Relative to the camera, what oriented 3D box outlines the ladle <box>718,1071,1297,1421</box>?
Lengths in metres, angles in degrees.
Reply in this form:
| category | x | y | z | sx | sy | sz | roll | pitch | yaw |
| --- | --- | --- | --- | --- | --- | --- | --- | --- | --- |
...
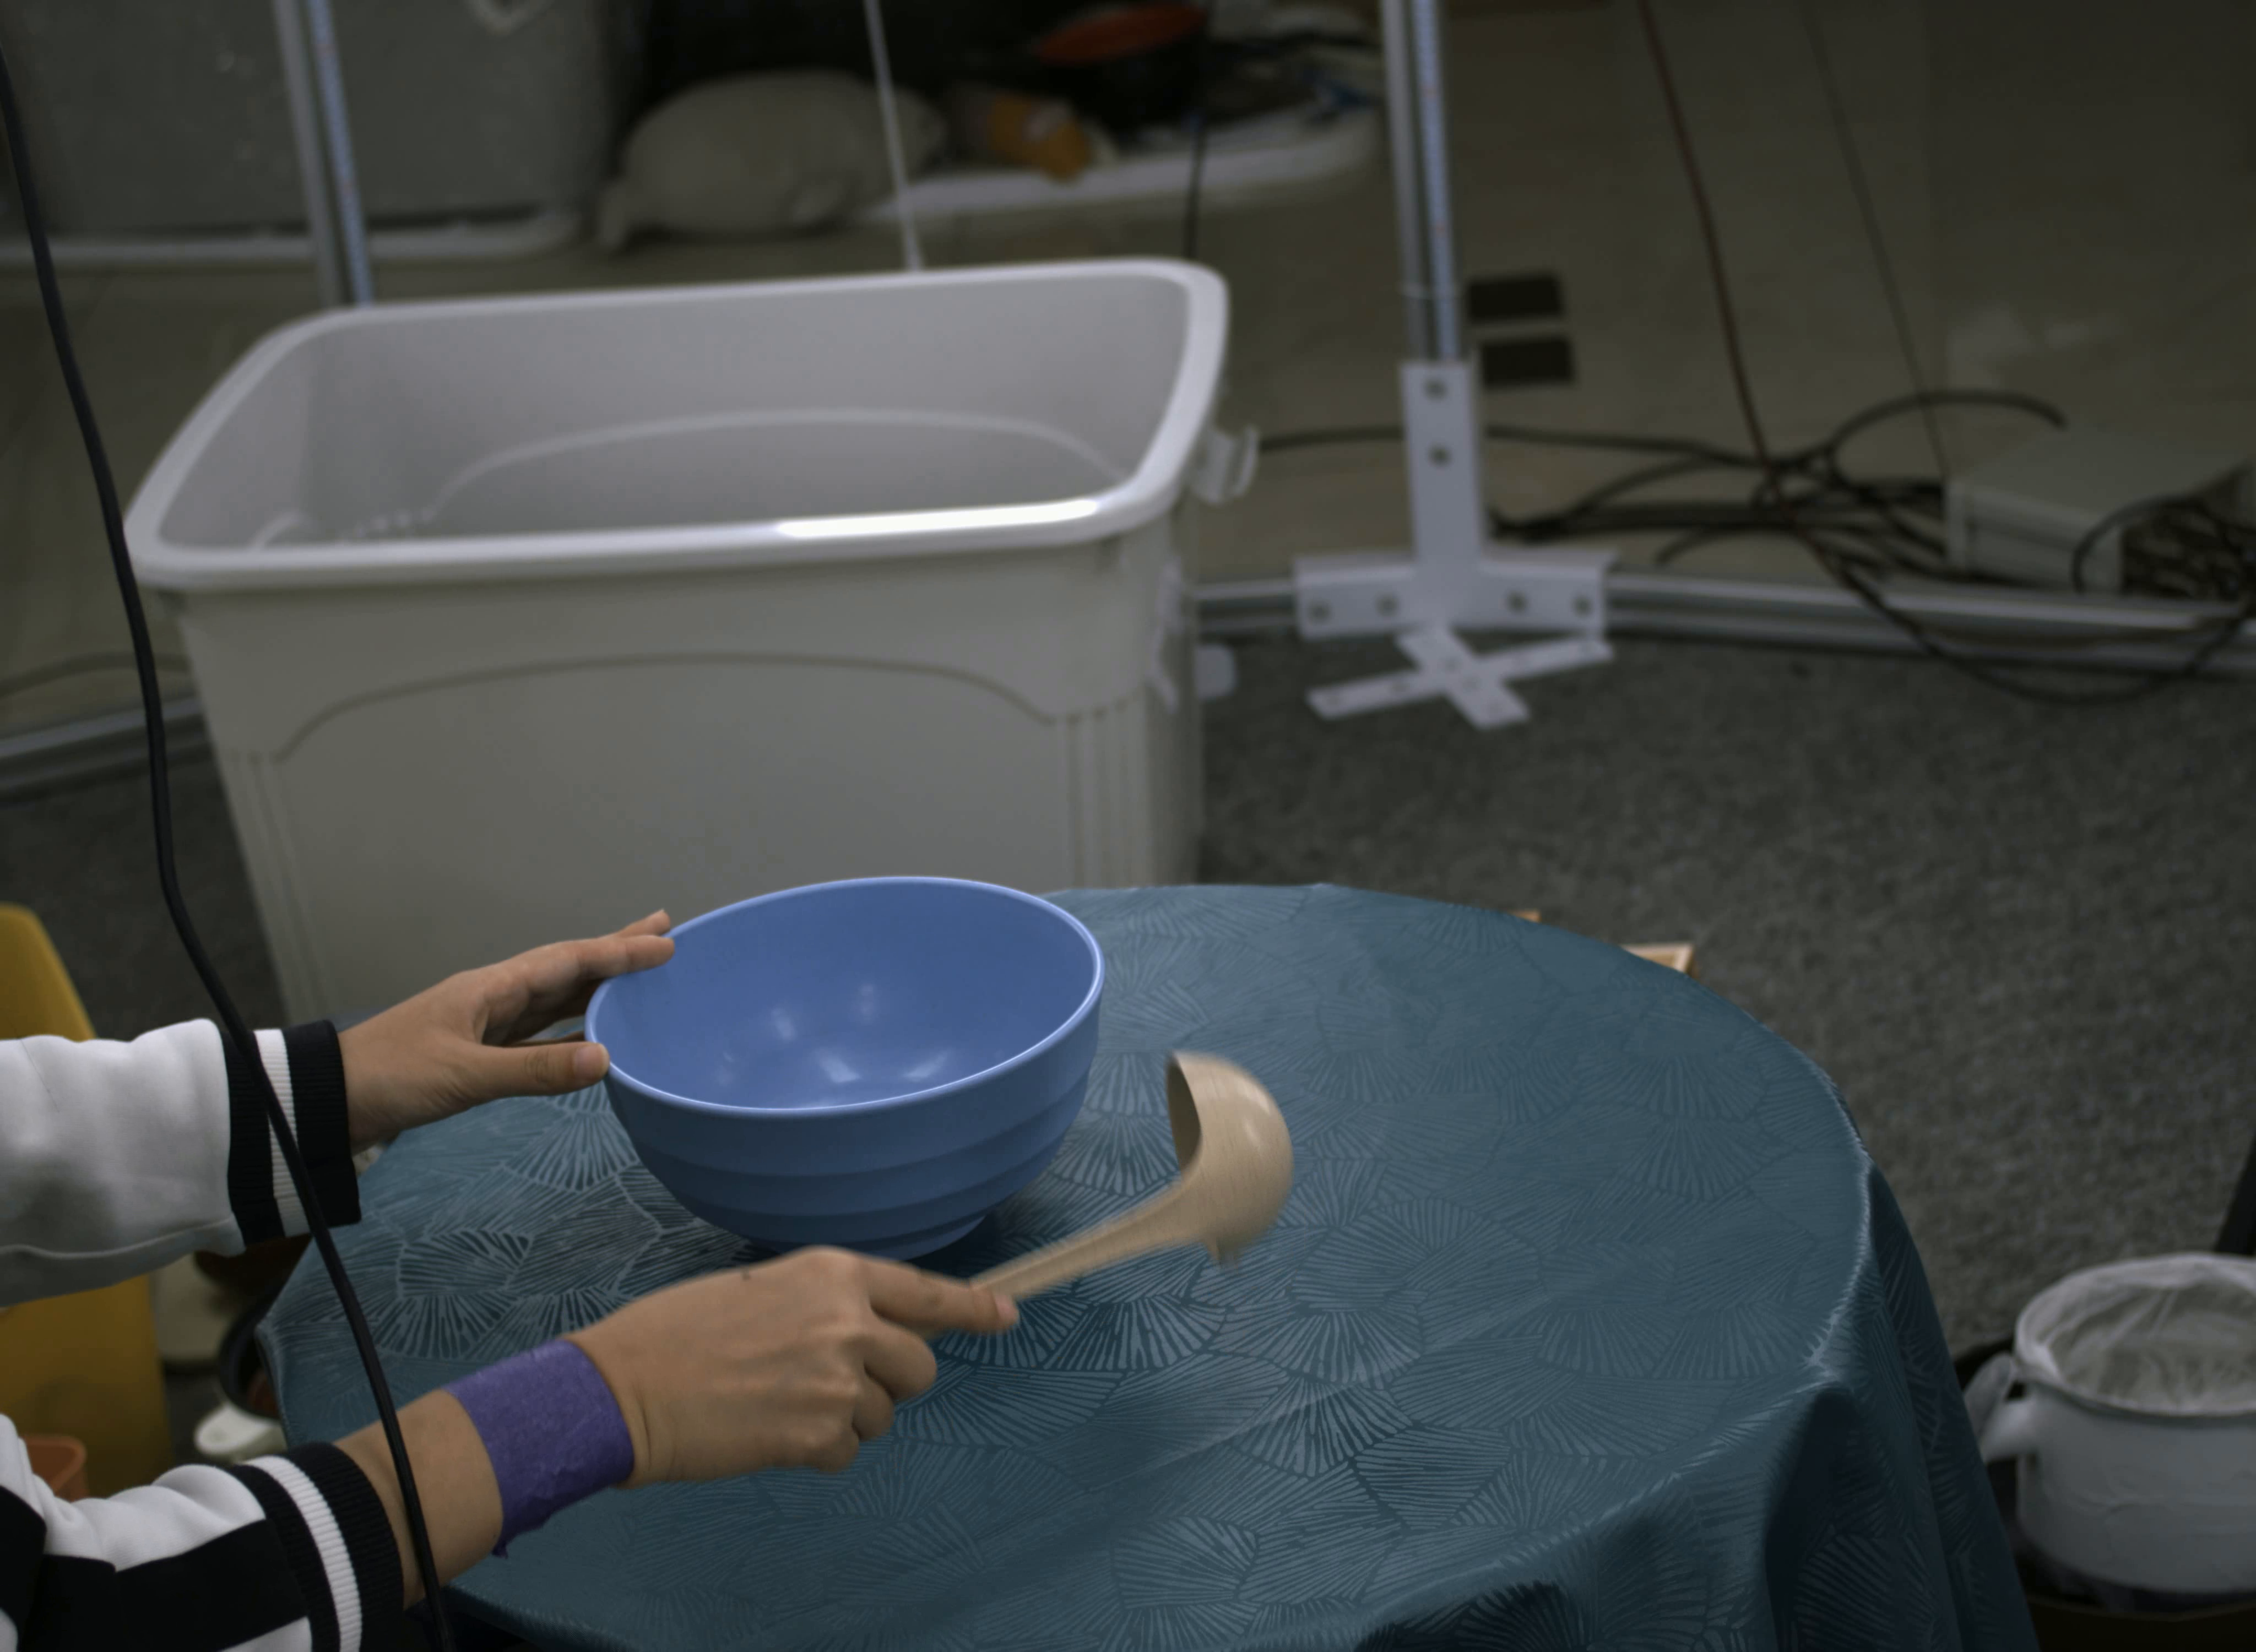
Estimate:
| category | x | y | z | sx | sy | sz | roll | pitch | yaw |
| --- | --- | --- | --- | --- | --- | --- | --- | --- | --- |
| ladle | -0.052 | 0.145 | 1.914 | 0.253 | 0.073 | 0.072 | -17 | 29 | -34 |

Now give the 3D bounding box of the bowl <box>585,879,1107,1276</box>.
| category | x | y | z | sx | sy | sz | roll | pitch | yaw |
| --- | --- | --- | --- | --- | --- | --- | --- | --- | --- |
| bowl | -0.101 | 0.106 | 2.138 | 0.196 | 0.097 | 0.193 | -5 | 27 | 2 |
